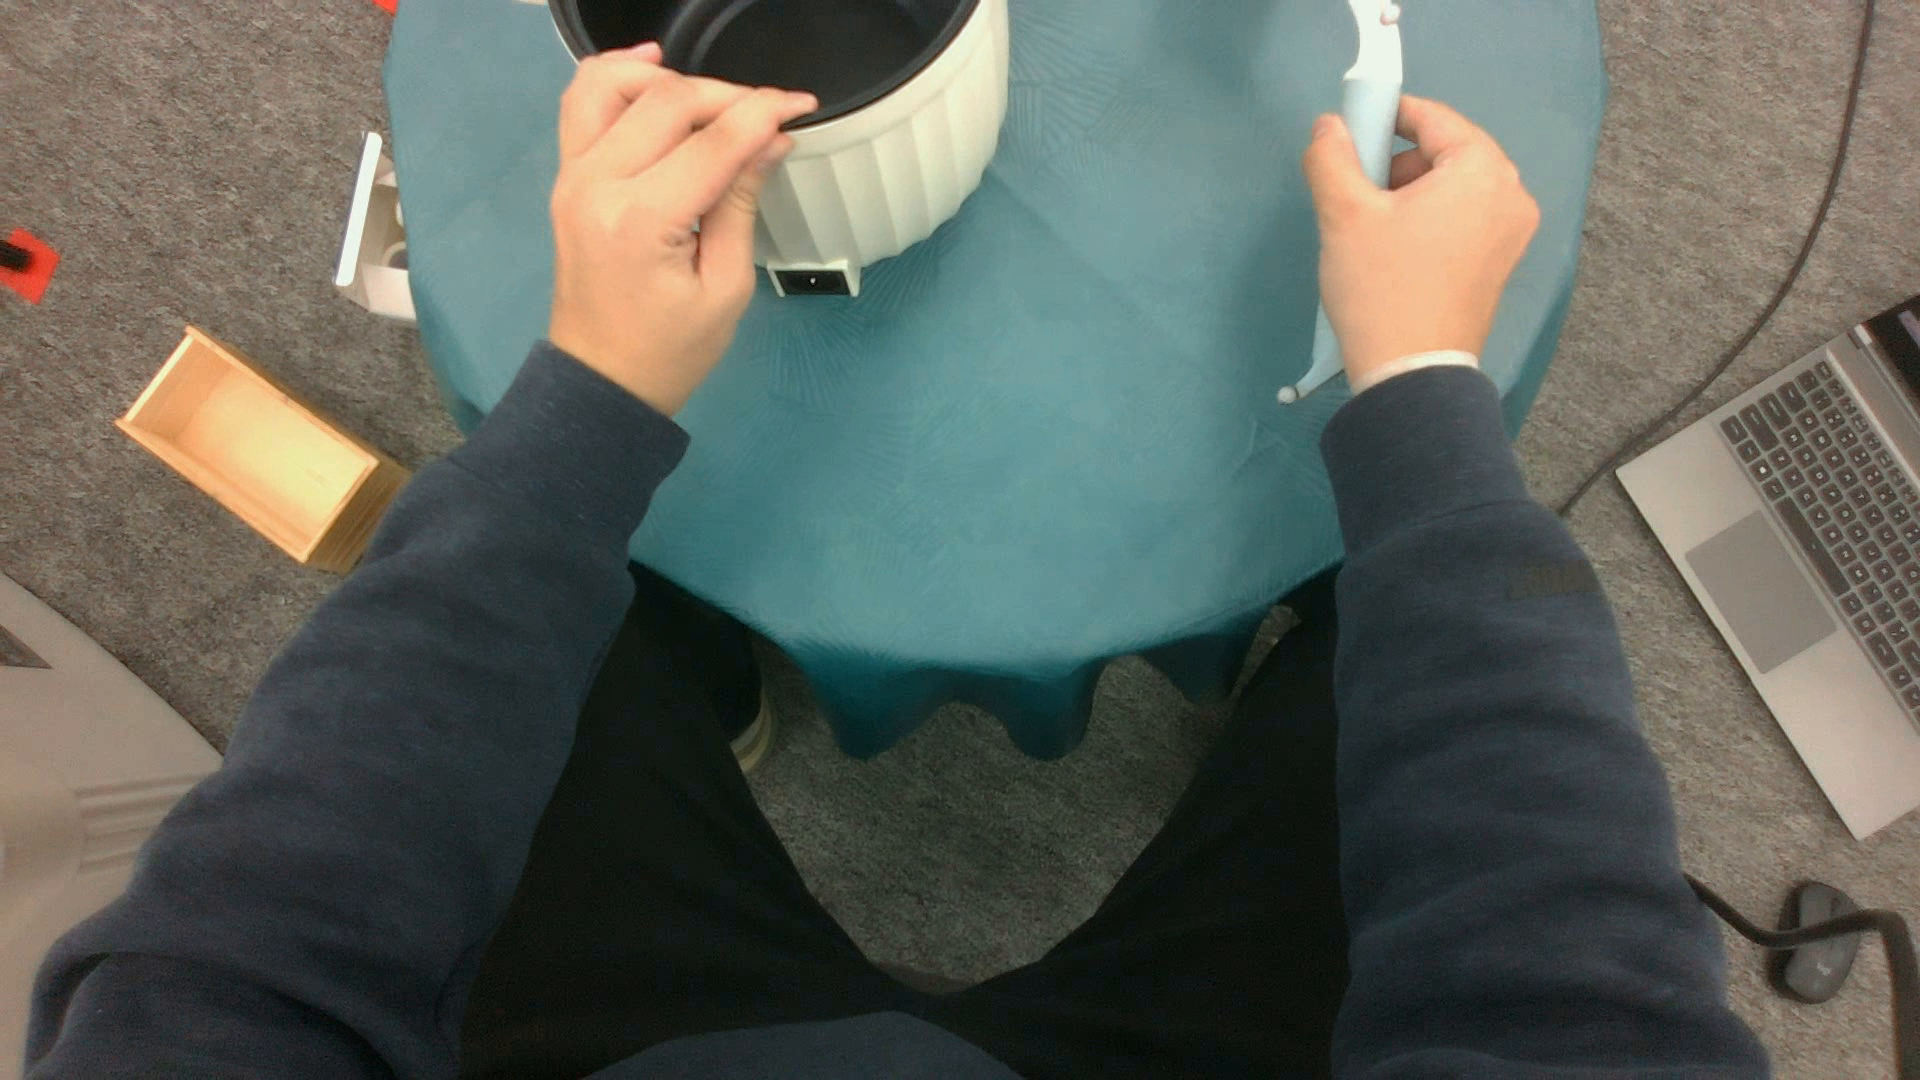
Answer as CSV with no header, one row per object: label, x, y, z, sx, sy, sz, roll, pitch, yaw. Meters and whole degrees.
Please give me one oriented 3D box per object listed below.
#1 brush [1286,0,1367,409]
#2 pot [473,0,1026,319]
brush,0.128,-0.222,0.615,0.083,0.084,0.325,1,92,-41
pot,-0.079,-0.212,0.624,0.240,0.142,0.191,-2,74,5
